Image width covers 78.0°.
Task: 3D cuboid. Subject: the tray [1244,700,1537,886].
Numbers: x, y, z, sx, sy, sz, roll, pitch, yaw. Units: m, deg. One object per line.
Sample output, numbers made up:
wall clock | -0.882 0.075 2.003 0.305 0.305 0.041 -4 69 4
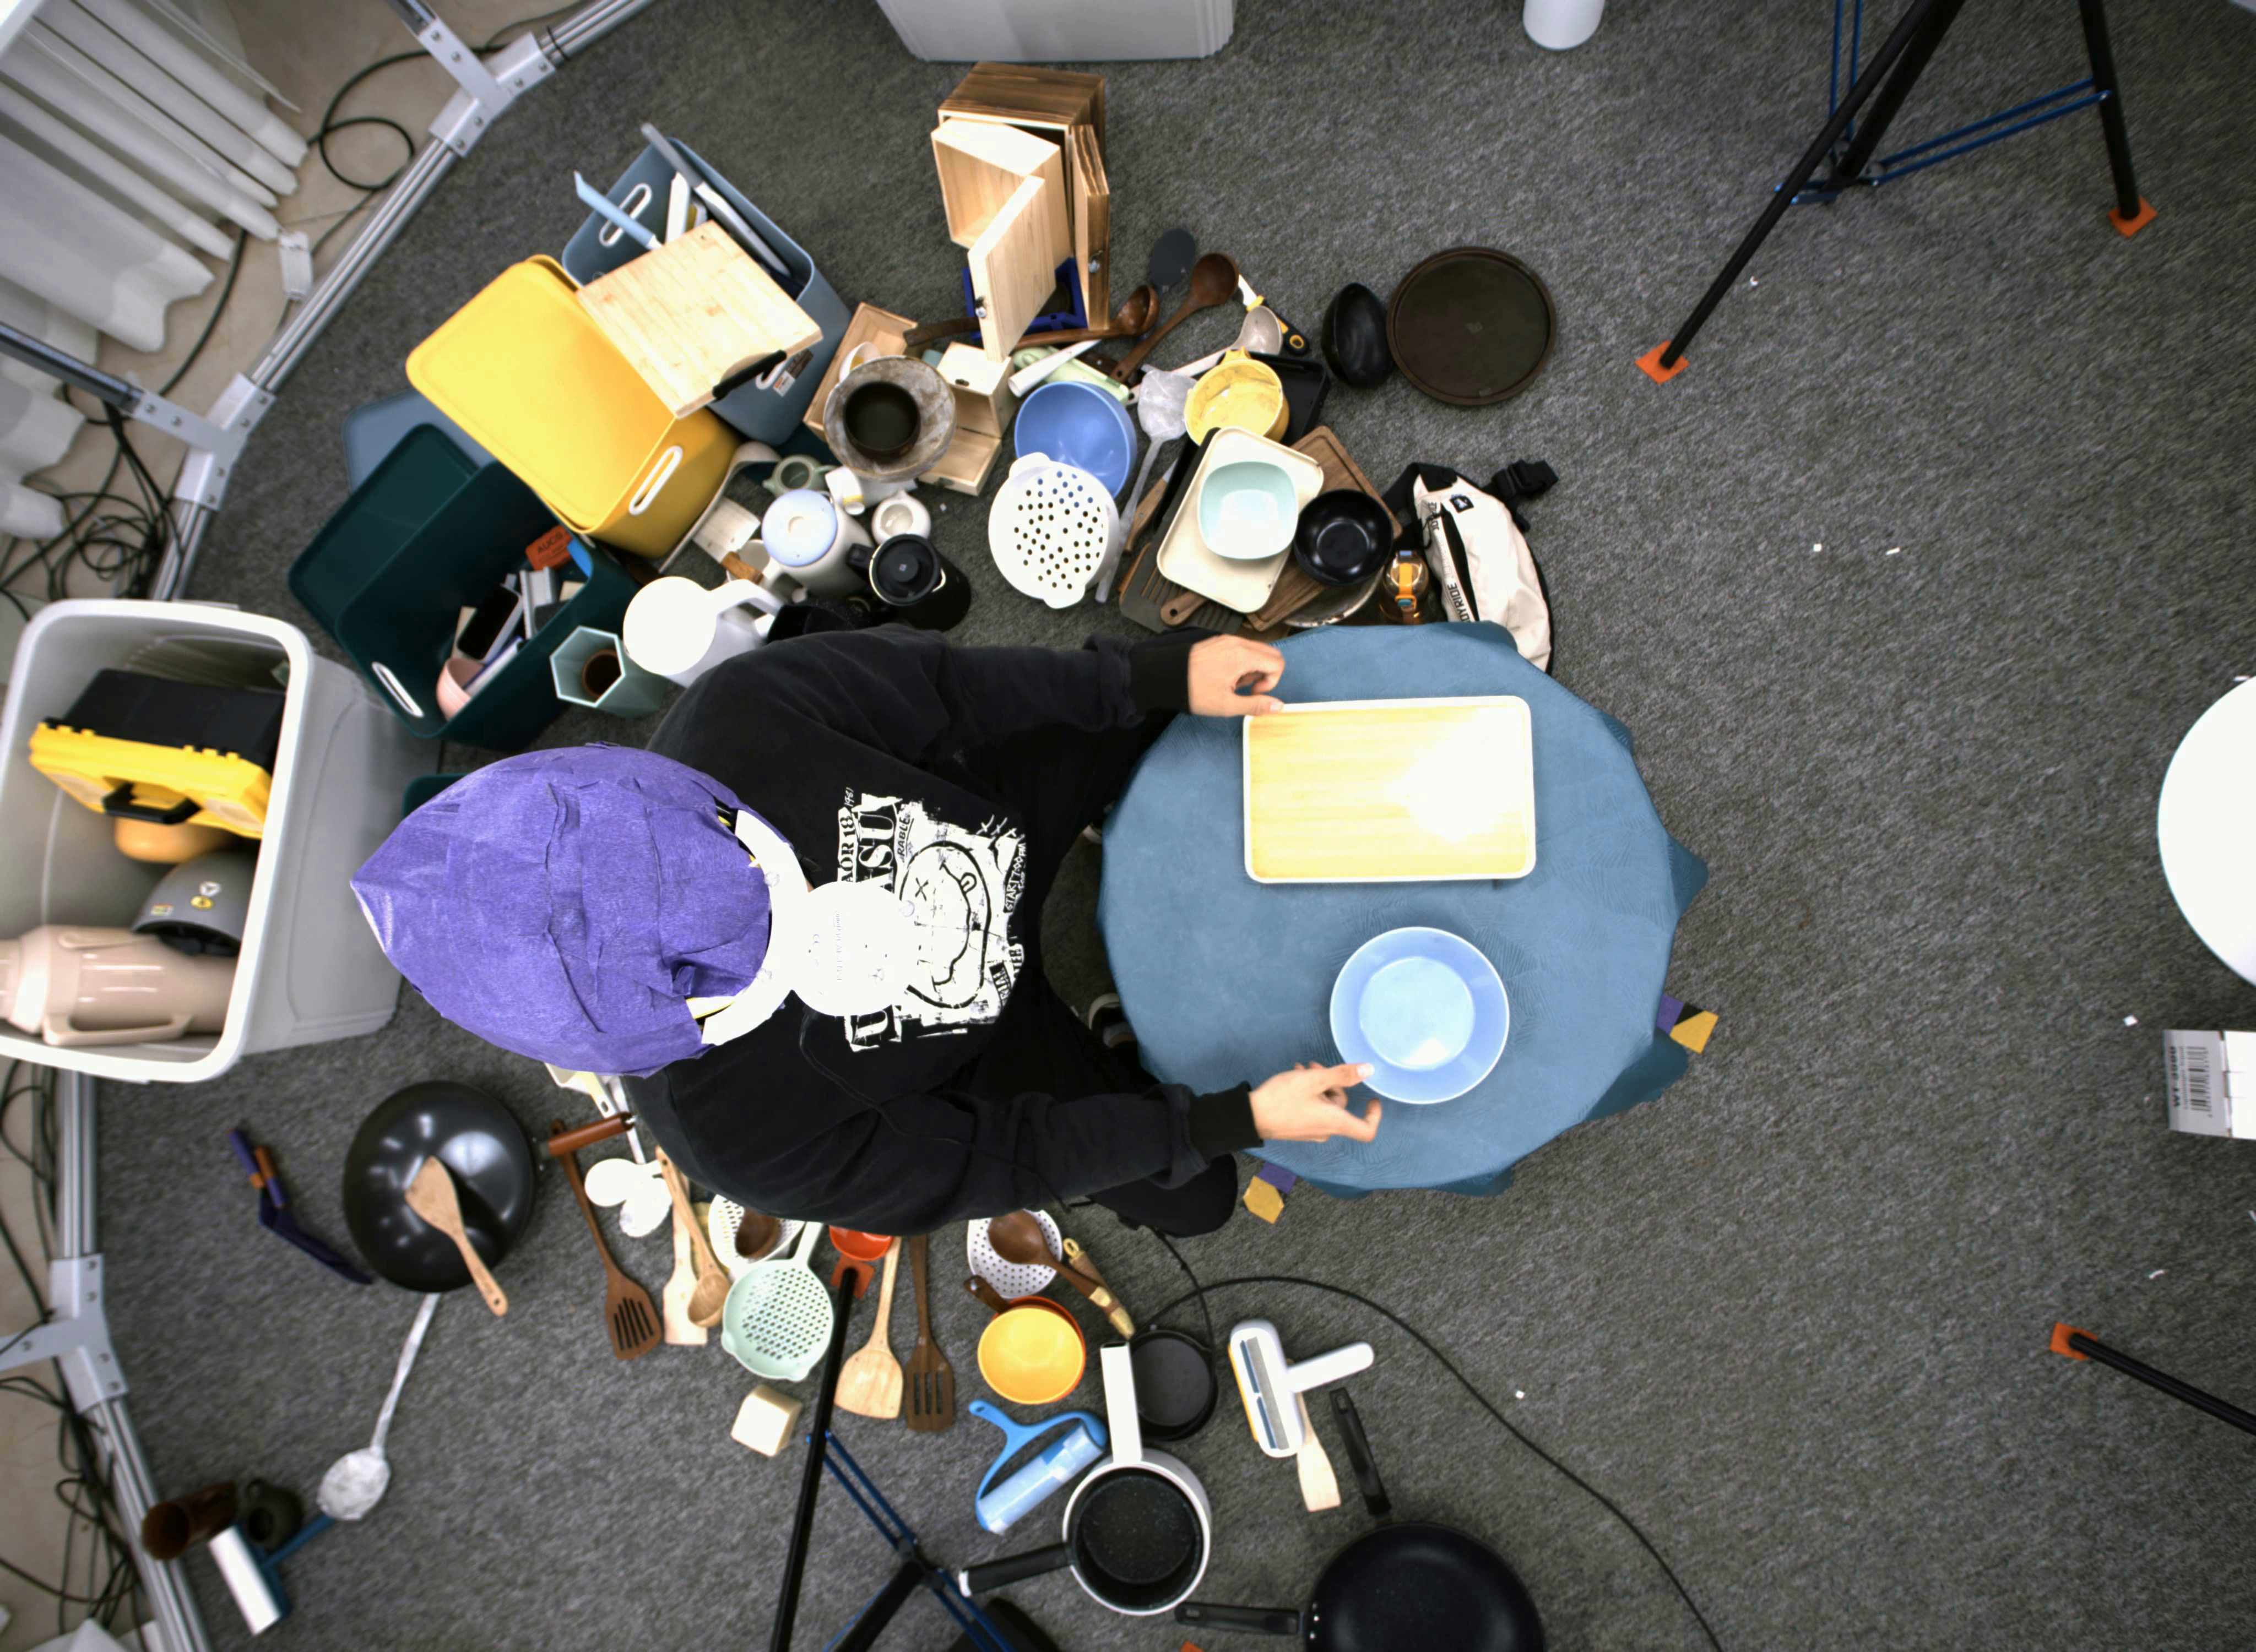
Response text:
tray | 0.275 -0.035 1.458 0.301 0.027 0.190 -1 86 10

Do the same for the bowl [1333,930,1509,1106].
bowl | 0.298 0.194 1.415 0.177 0.070 0.175 -1 85 9
